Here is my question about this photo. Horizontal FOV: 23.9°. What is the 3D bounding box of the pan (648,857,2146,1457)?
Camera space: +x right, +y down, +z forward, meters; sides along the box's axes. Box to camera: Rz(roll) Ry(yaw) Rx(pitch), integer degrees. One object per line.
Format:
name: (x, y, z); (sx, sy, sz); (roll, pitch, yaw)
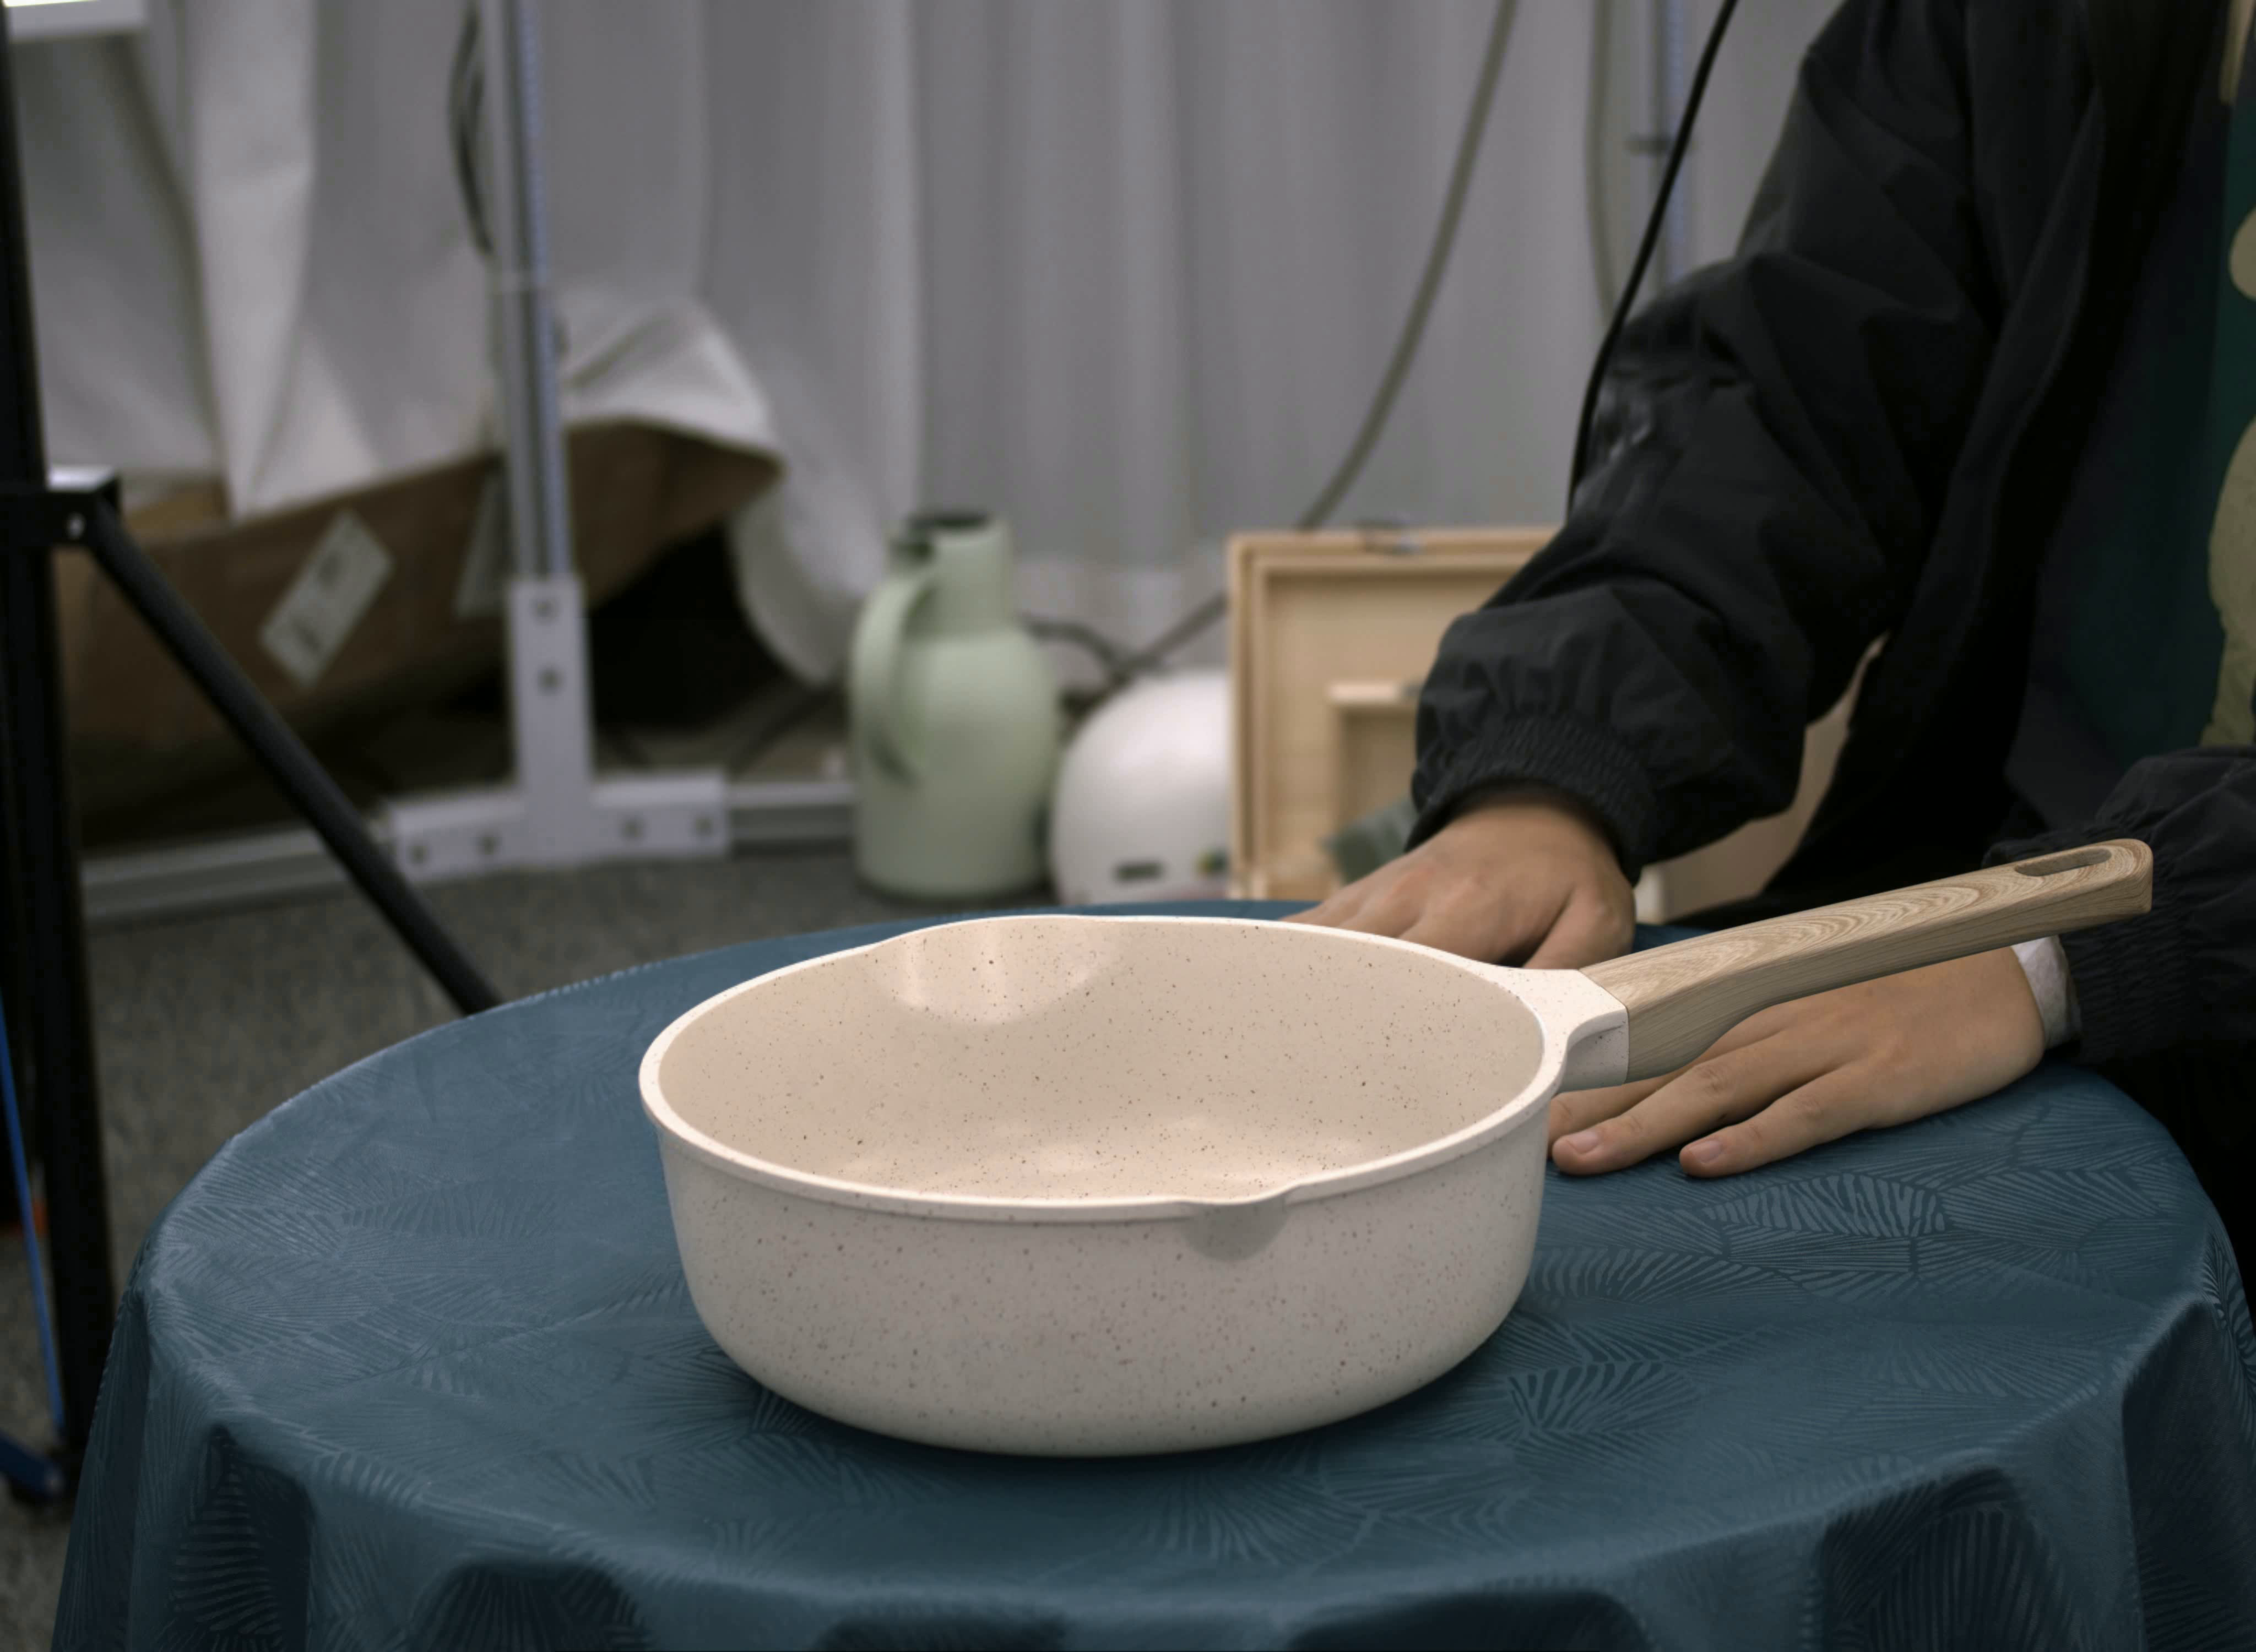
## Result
pan: (0.084, 0.083, 1.457); (0.428, 0.102, 0.267); (-6, 14, -14)

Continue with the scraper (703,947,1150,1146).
scraper: (-0.052, 0.069, 1.691); (0.077, 0.011, 0.207); (8, 18, 29)
